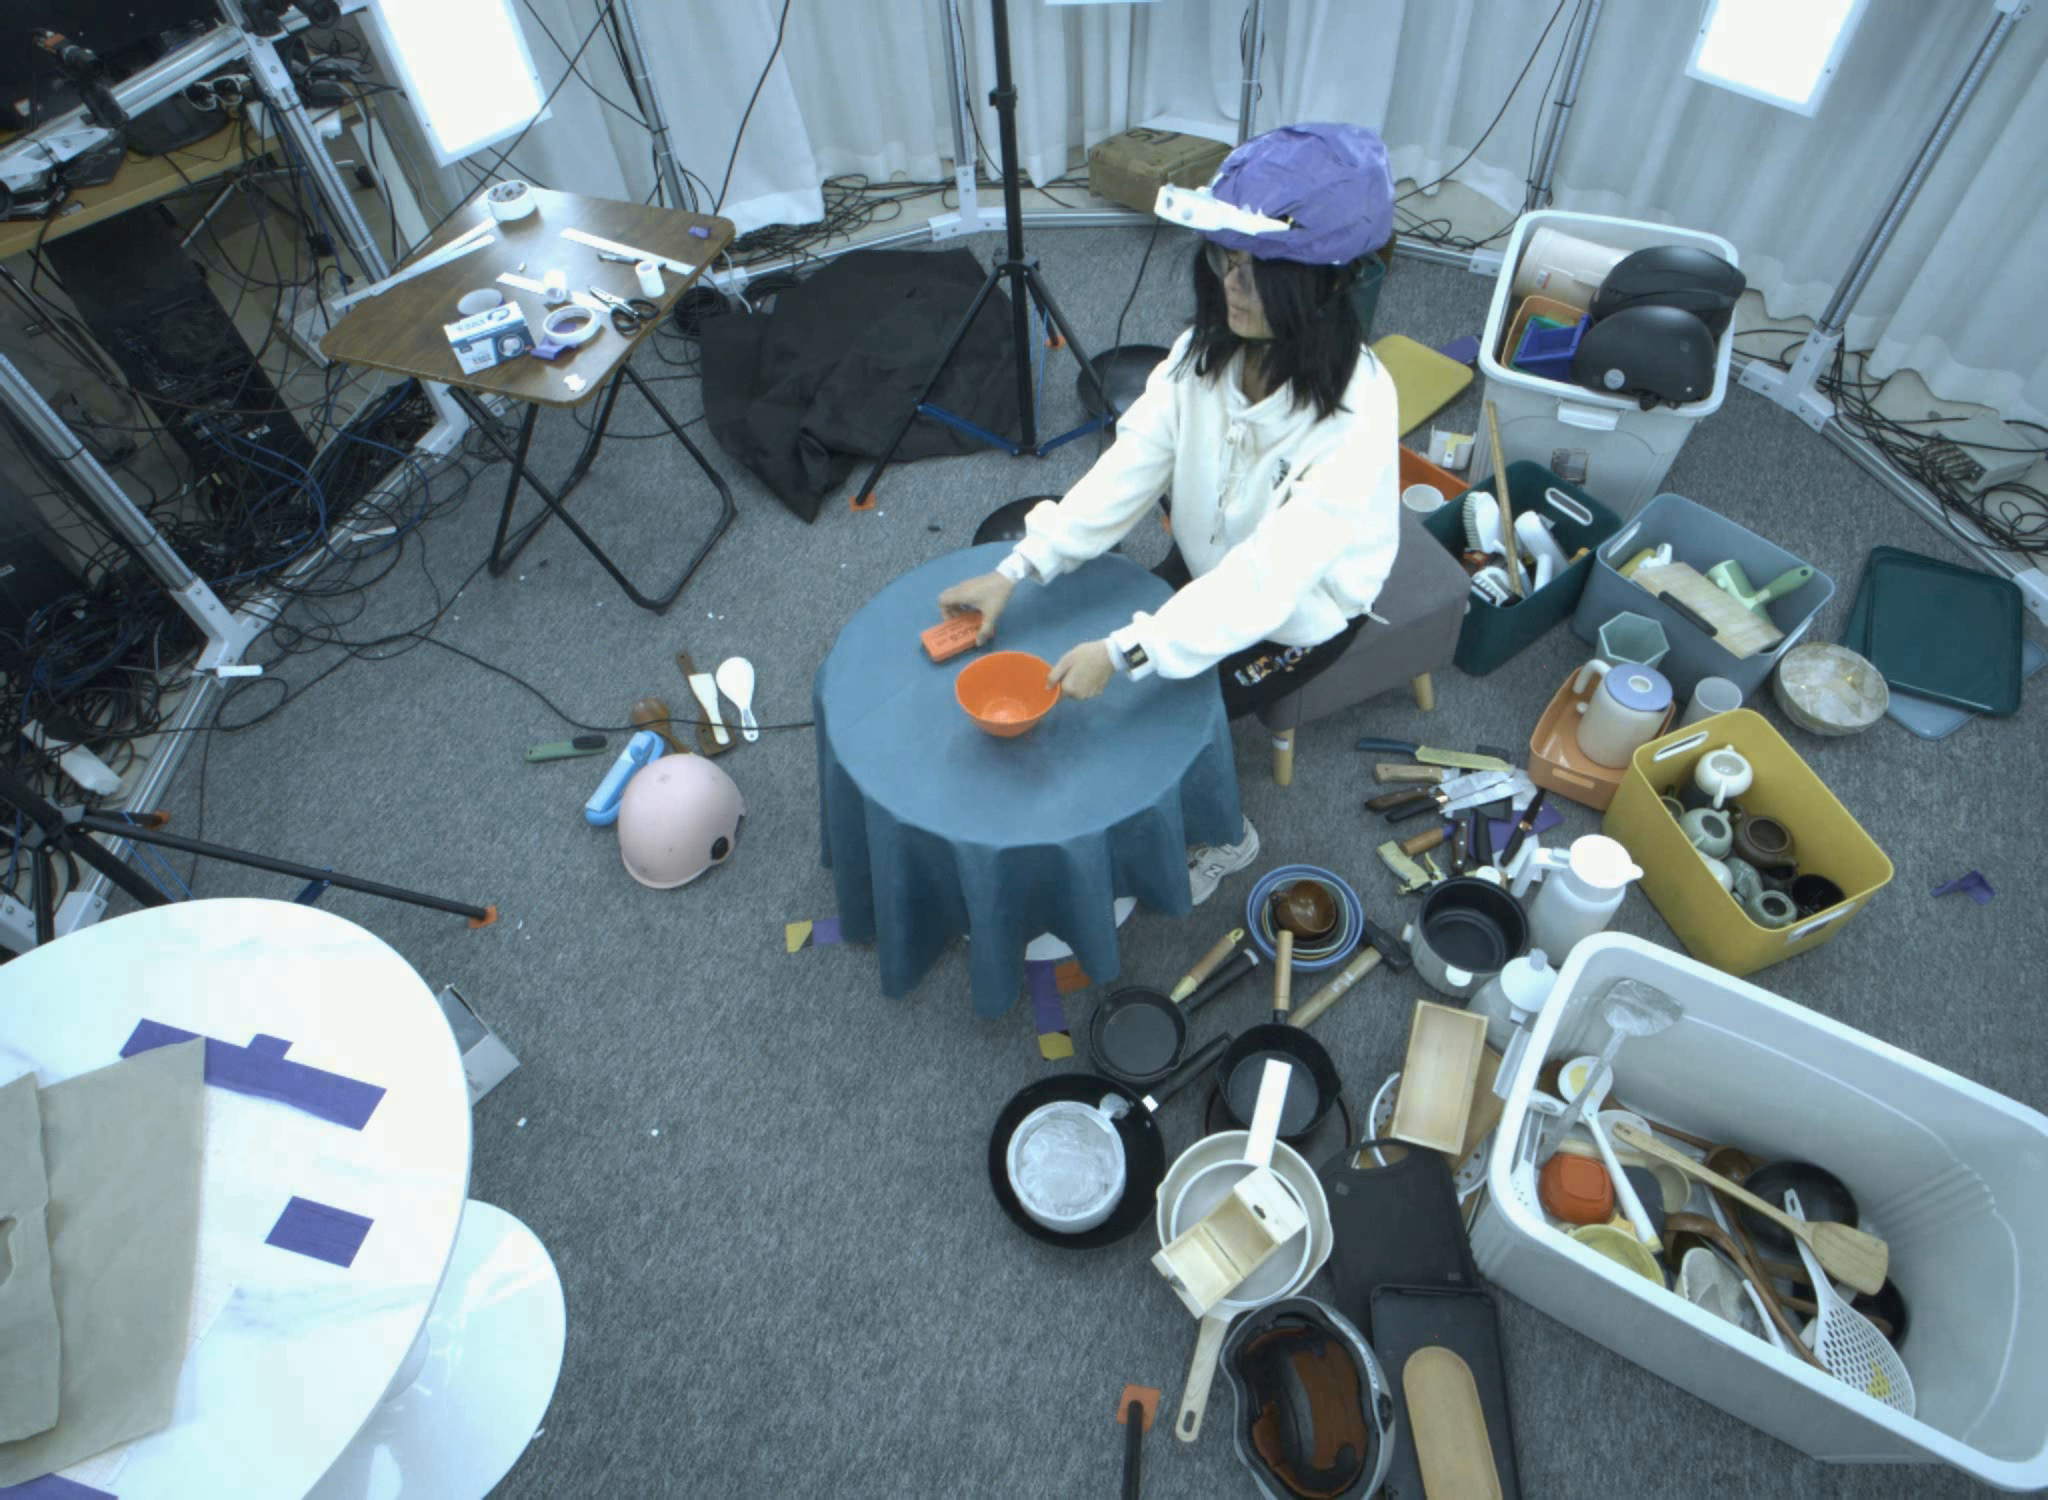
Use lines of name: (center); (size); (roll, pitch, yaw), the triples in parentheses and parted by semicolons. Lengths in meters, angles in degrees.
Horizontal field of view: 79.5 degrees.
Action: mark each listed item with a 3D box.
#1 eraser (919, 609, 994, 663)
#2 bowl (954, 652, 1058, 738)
eraser: (-0.105, -0.177, 1.903); (0.109, 0.023, 0.058); (-24, 55, -14)
bowl: (-0.026, -0.064, 1.770); (0.148, 0.105, 0.146); (1, 56, 0)
